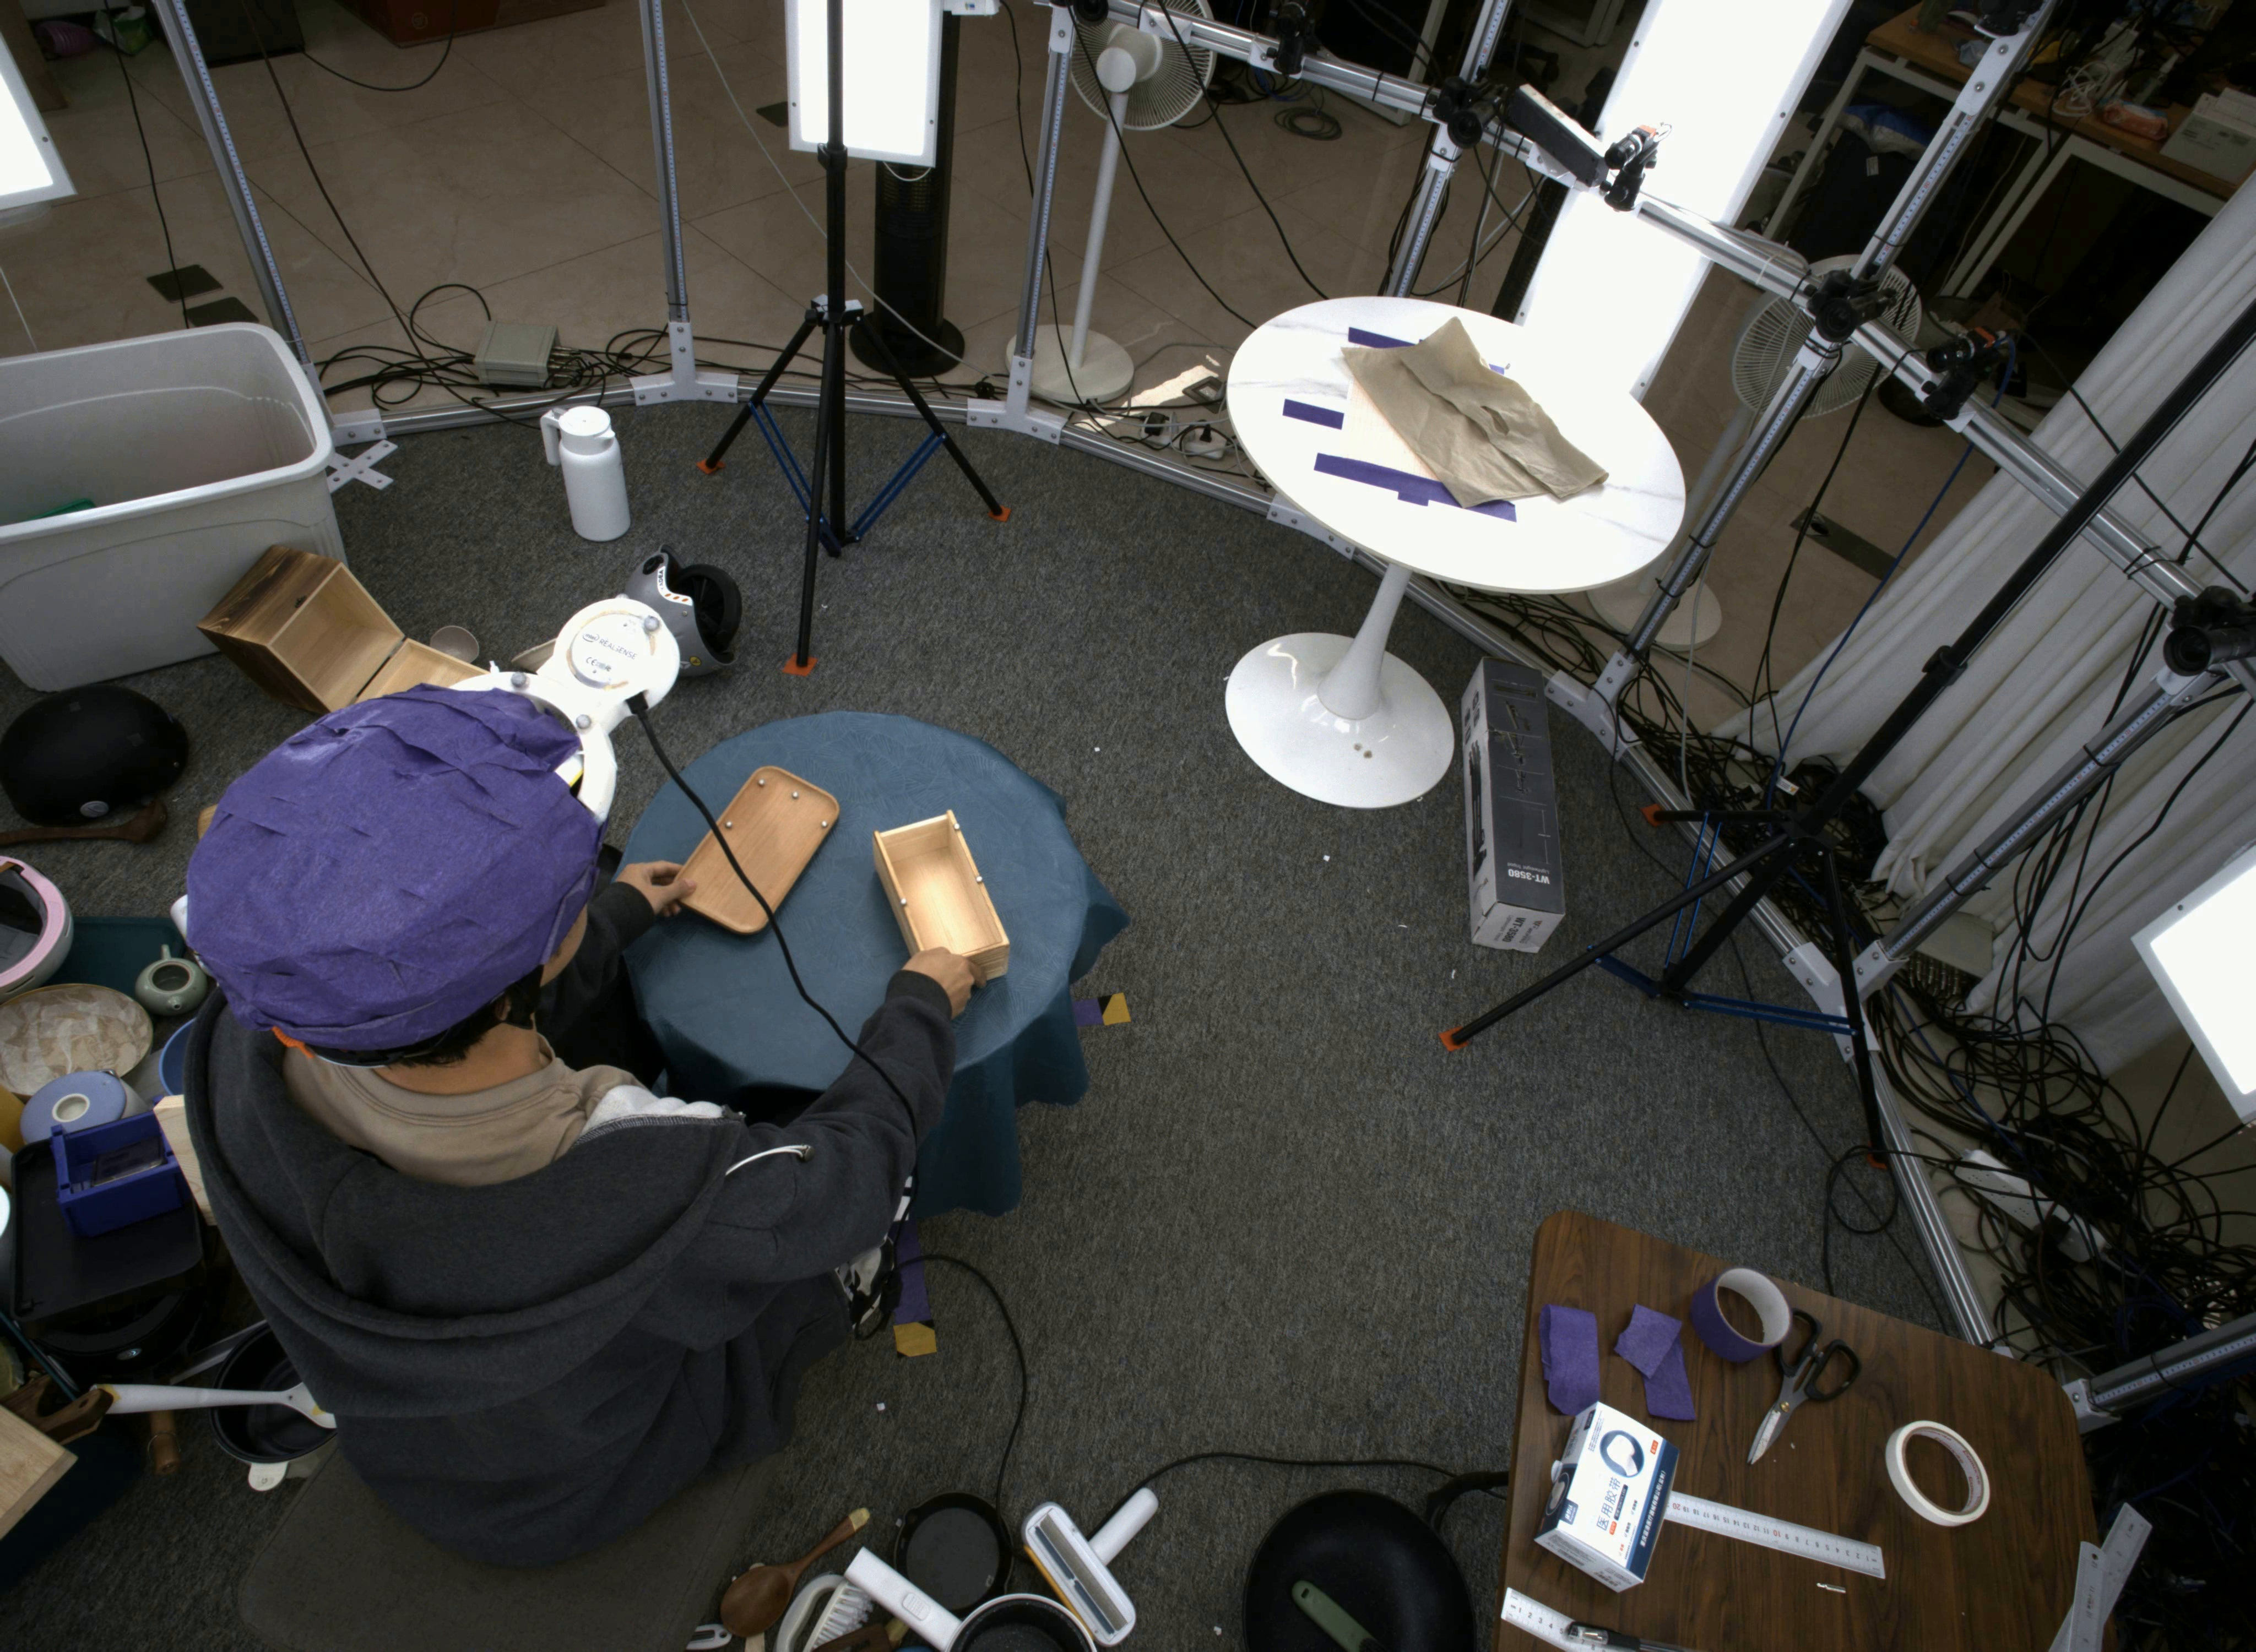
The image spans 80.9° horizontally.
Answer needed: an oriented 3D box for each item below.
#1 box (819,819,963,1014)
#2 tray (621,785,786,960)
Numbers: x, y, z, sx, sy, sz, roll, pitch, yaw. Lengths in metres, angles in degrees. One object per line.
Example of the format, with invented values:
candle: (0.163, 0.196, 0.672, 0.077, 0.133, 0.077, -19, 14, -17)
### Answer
box: (-0.296, 0.110, 1.620, 0.108, 0.082, 0.206, -21, 63, -21)
tray: (-0.535, 0.054, 1.632, 0.130, 0.023, 0.248, 24, 50, -5)
